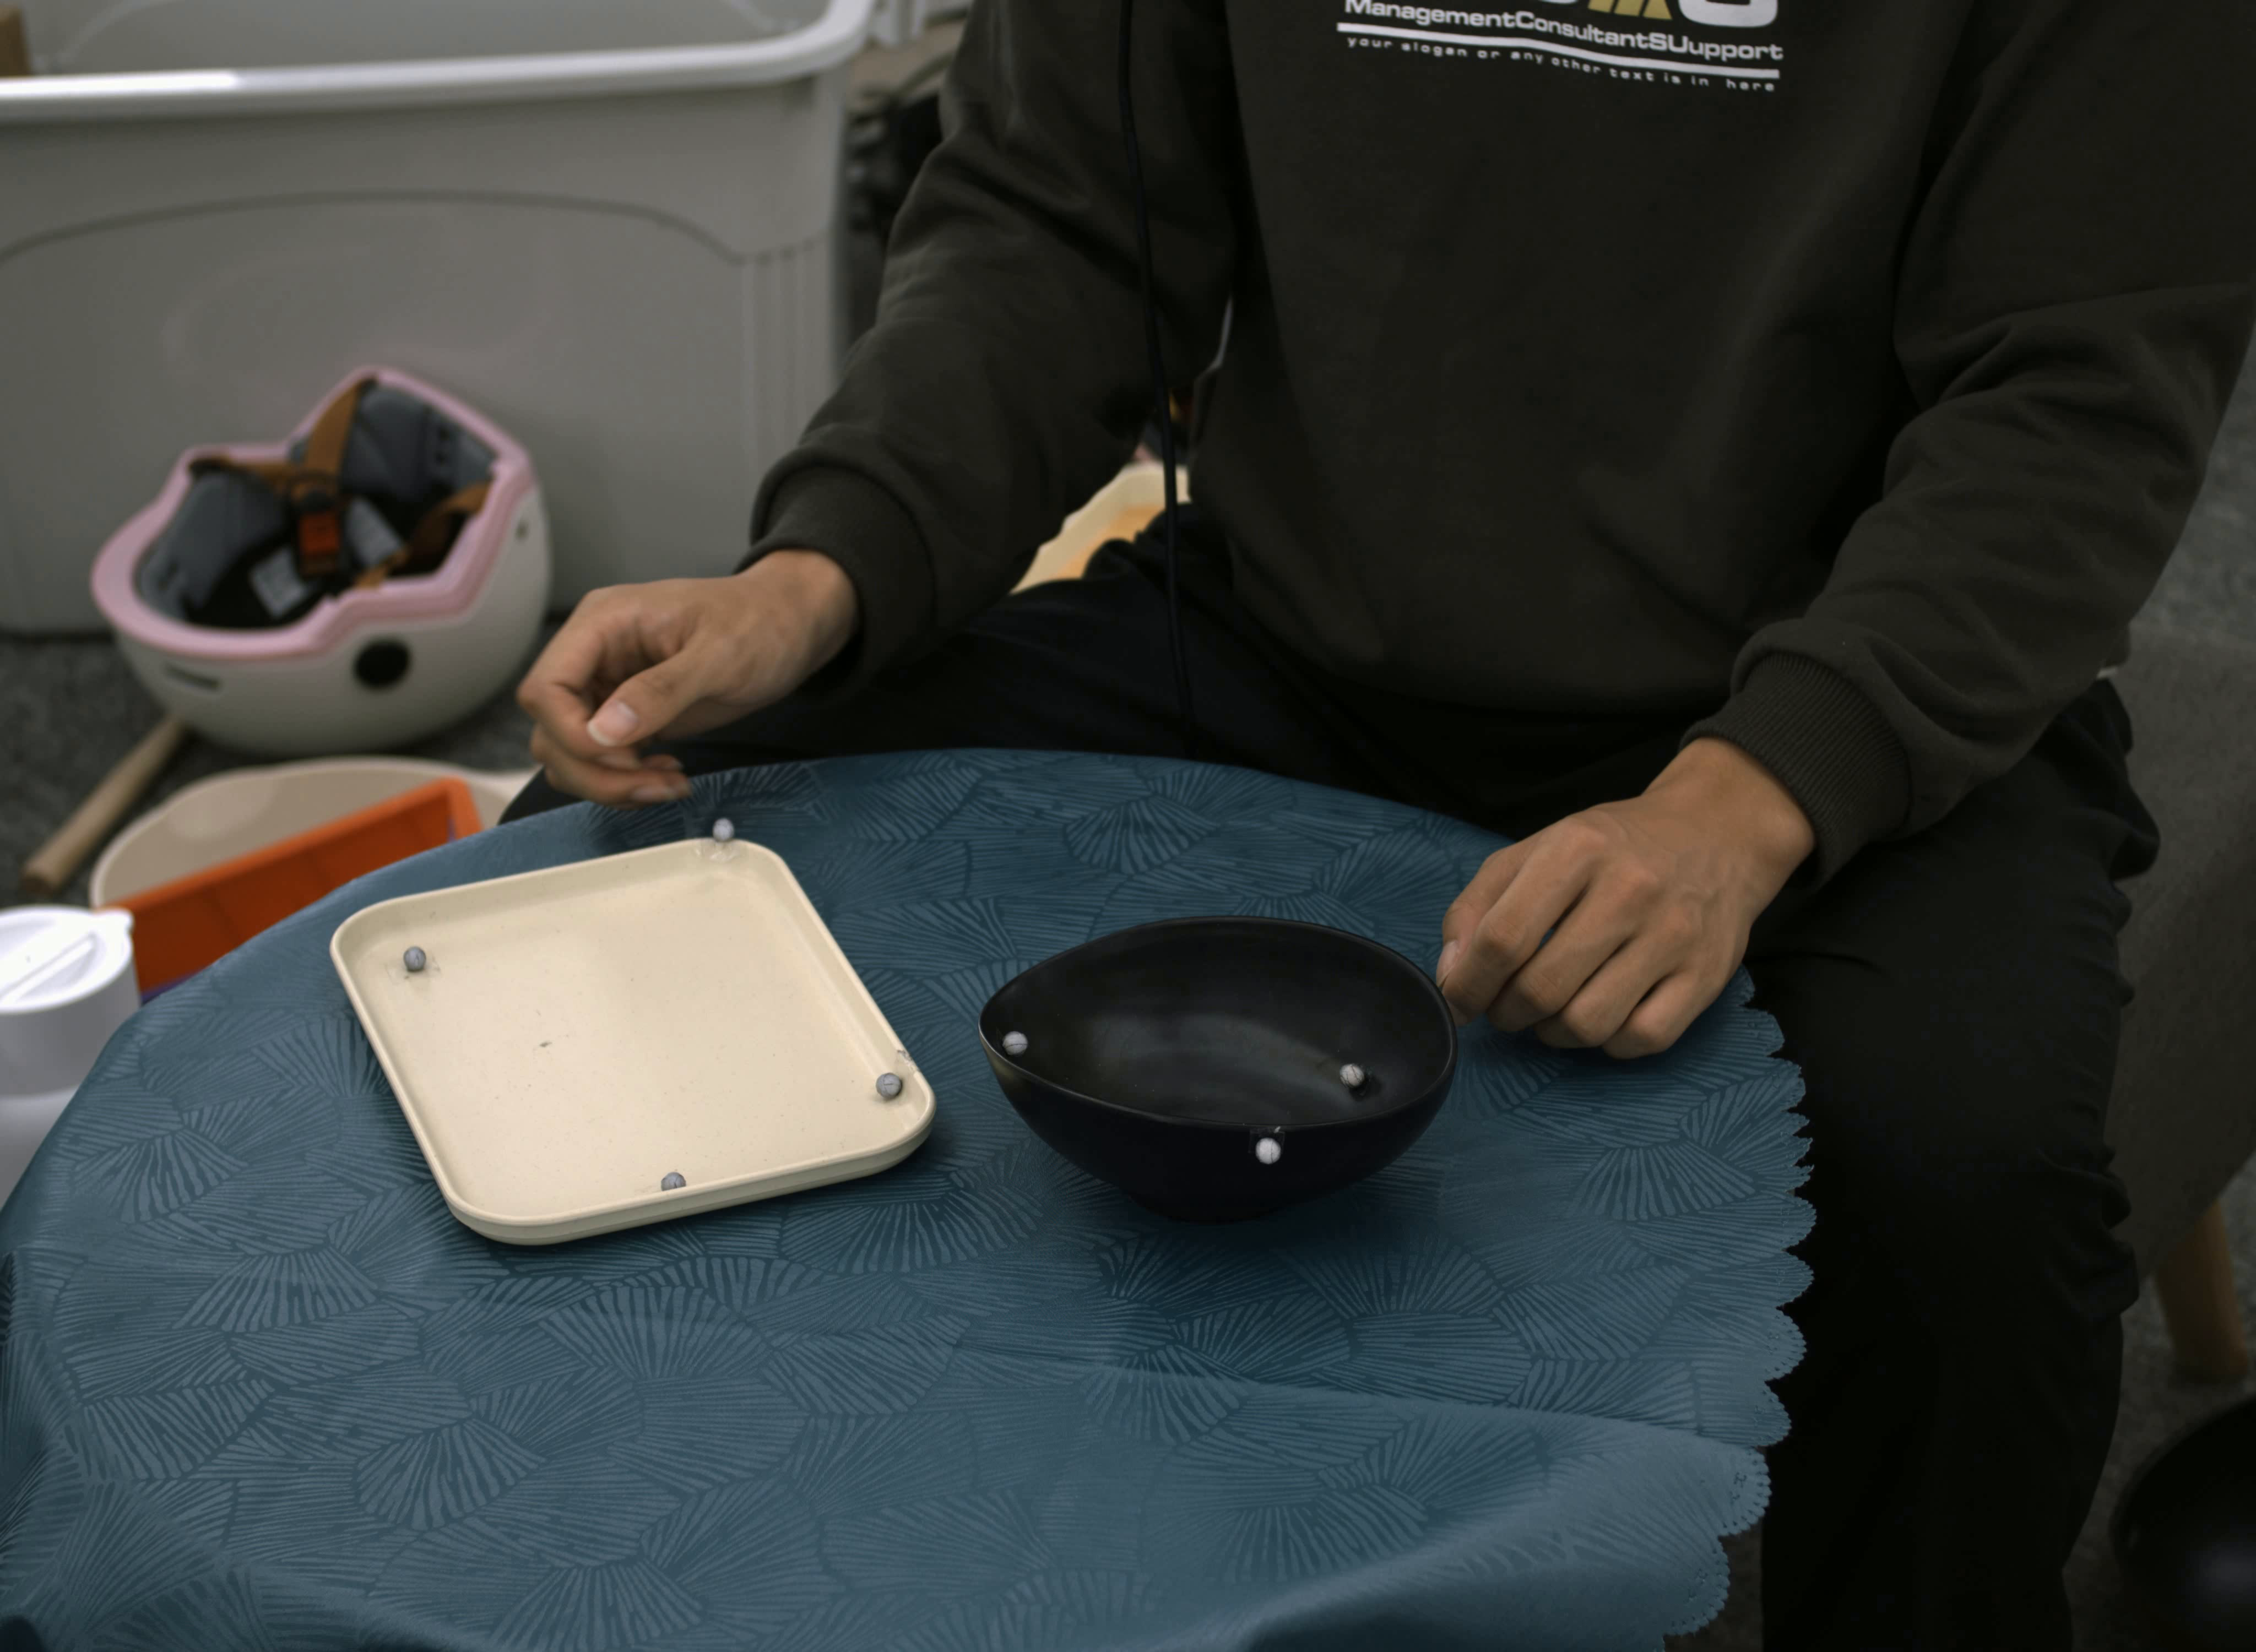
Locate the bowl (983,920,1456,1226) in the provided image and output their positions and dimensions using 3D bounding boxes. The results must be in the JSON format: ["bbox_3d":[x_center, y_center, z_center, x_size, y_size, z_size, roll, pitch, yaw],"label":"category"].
[{"bbox_3d":[0.029,0.090,1.859,0.169,0.066,0.139,13,30,31],"label":"bowl"}]

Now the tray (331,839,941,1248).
[{"bbox_3d":[-0.173,0.074,1.952,0.171,0.017,0.242,-12,29,-16],"label":"tray"}]
